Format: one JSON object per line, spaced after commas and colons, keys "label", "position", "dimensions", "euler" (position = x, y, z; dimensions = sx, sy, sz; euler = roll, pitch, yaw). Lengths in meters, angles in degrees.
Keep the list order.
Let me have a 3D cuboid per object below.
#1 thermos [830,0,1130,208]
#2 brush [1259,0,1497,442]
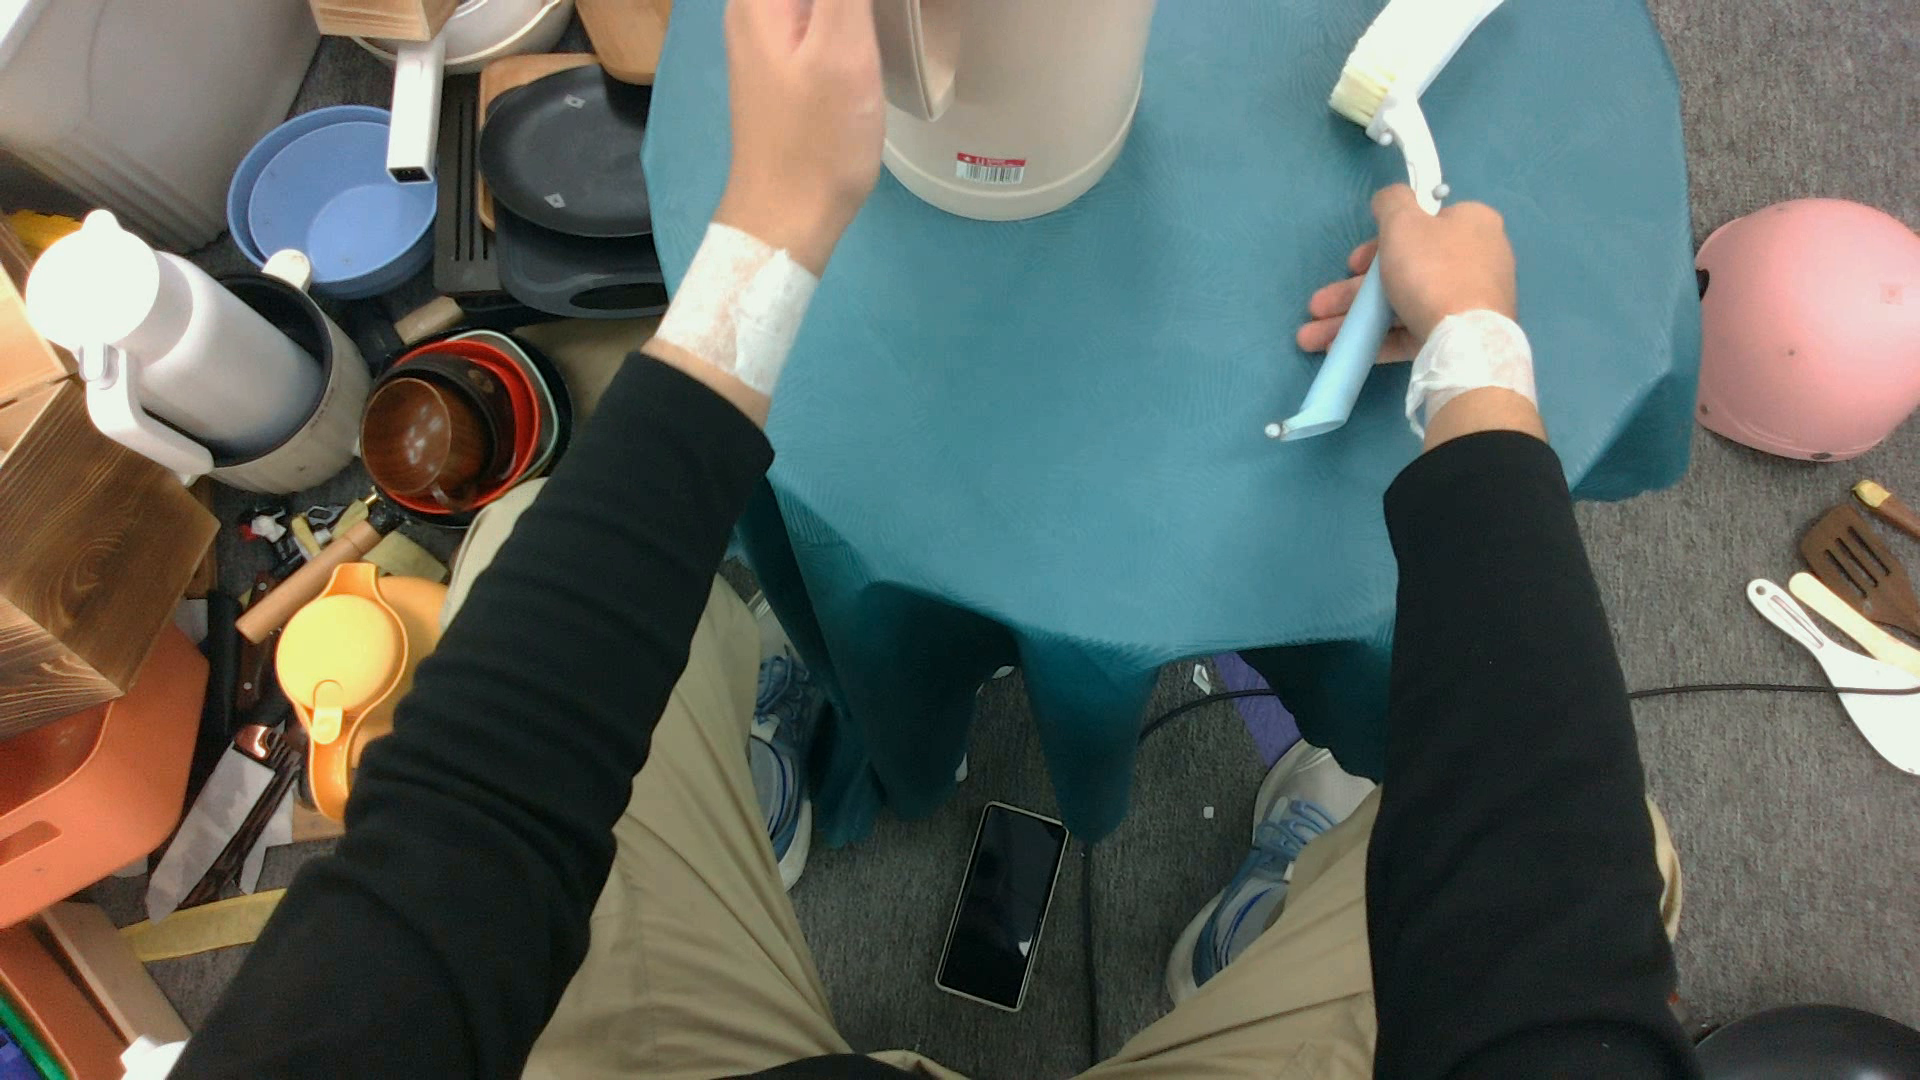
{"label": "thermos", "position": [0.005, -0.296, 0.606], "dimensions": [0.175, 0.405, 0.207], "euler": [26, 77, 3]}
{"label": "brush", "position": [0.208, -0.204, 0.751], "dimensions": [0.084, 0.083, 0.326], "euler": [15, 71, 43]}
